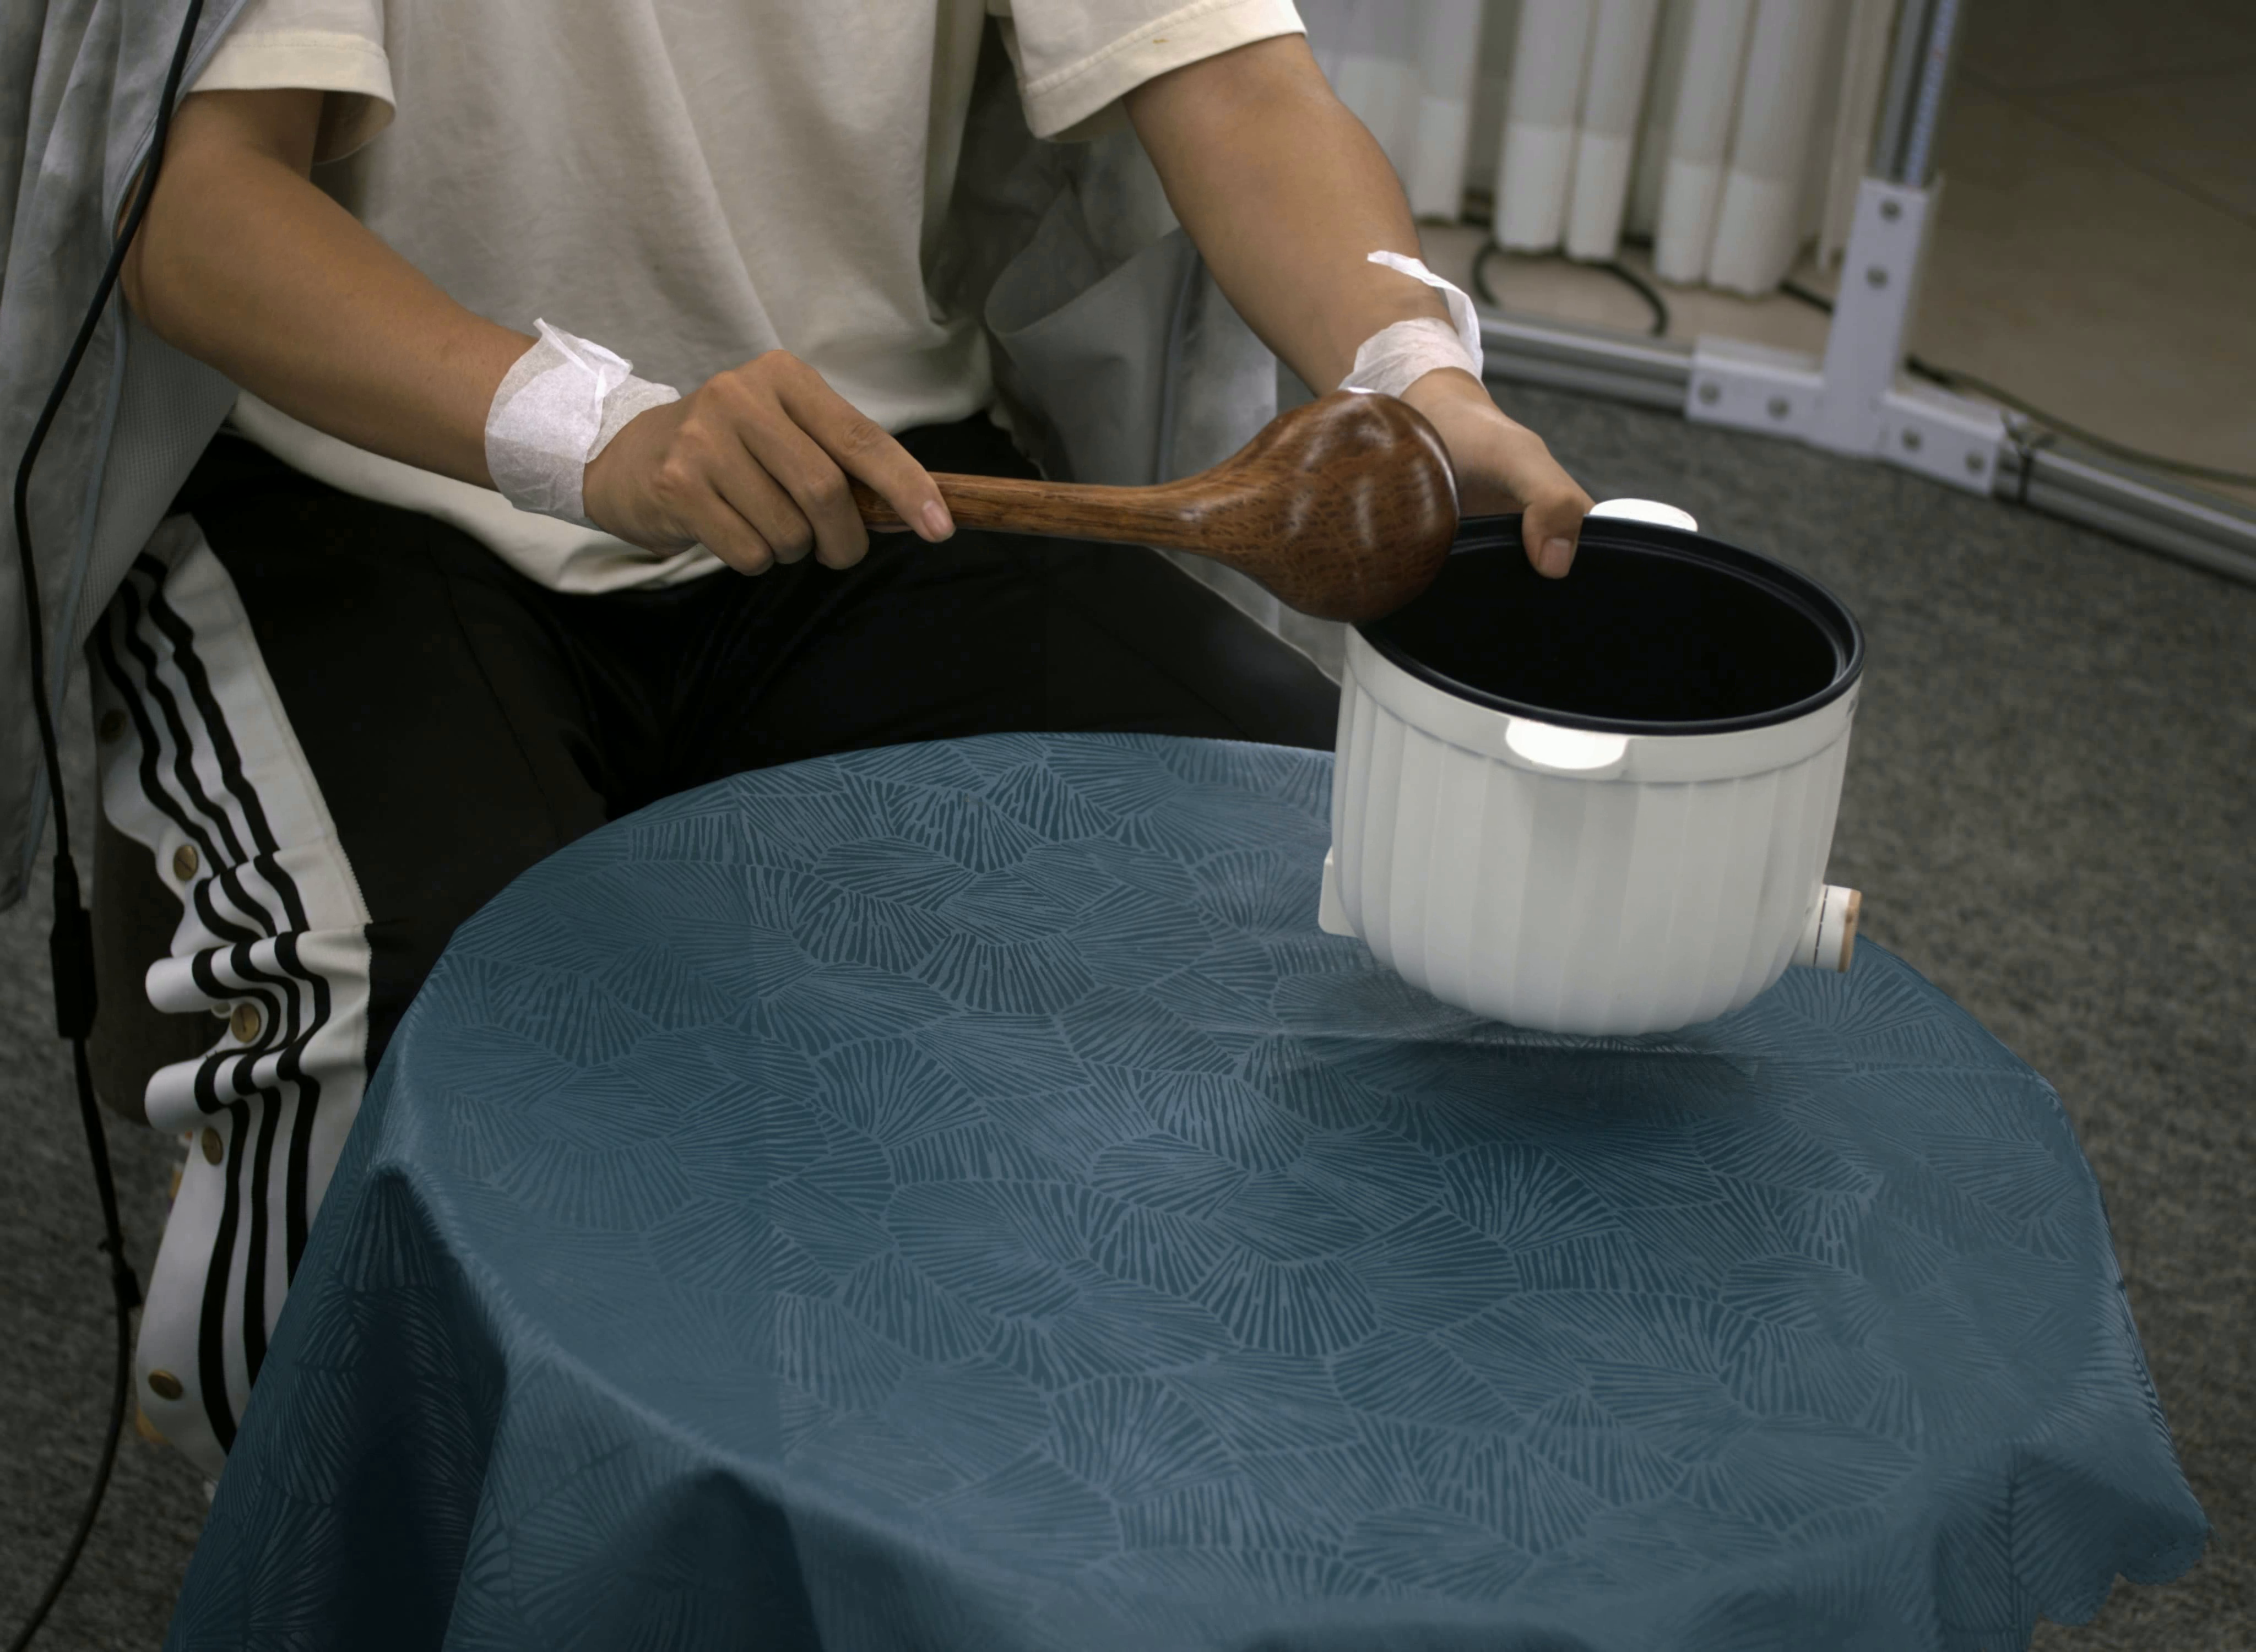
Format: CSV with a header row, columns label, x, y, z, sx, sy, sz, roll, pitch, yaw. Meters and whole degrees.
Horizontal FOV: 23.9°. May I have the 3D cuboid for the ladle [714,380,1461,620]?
label,x,y,z,sx,sy,sz,roll,pitch,yaw
ladle,-0.014,-0.116,1.875,0.275,0.082,0.076,3,9,32

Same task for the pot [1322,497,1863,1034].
label,x,y,z,sx,sy,sz,roll,pitch,yaw
pot,0.167,-0.015,1.883,0.190,0.142,0.241,6,27,11
